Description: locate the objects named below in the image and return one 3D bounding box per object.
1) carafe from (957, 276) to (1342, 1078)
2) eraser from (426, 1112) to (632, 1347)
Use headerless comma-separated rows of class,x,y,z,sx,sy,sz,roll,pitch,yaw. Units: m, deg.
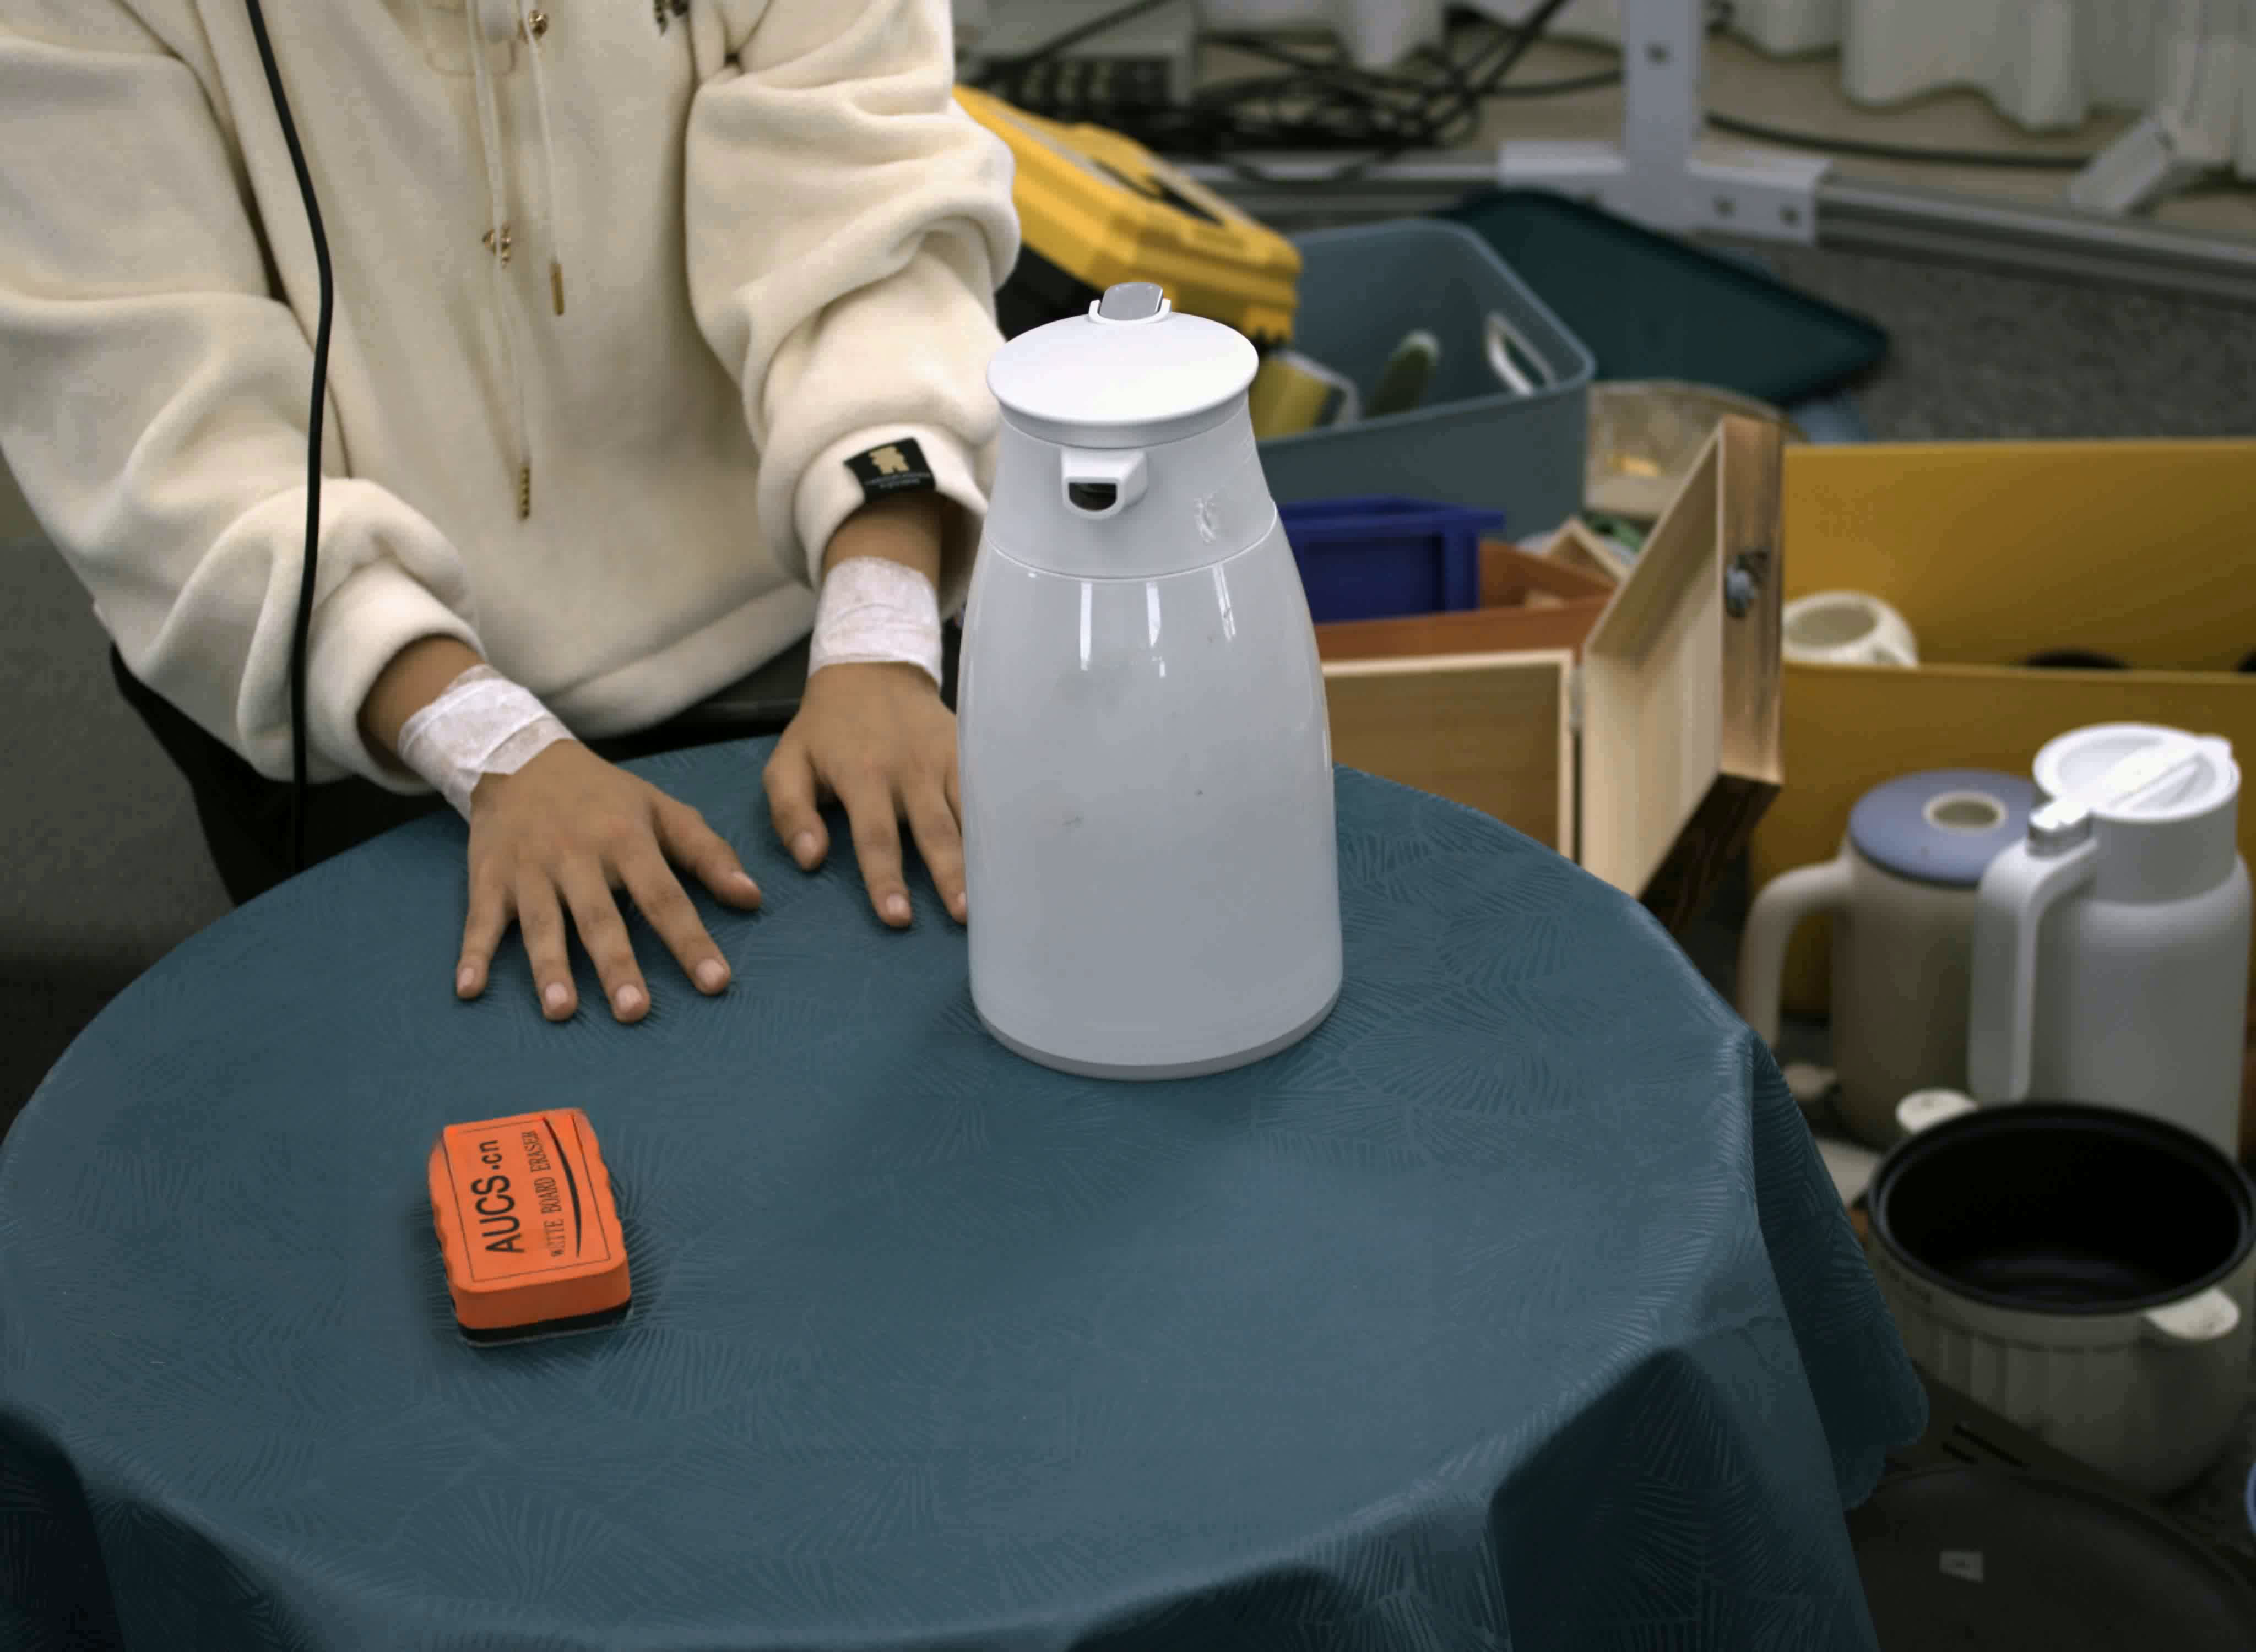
carafe,0.006,-0.061,1.947,0.131,0.246,0.170,1,26,9
eraser,-0.197,0.132,1.837,0.059,0.022,0.109,-6,28,-11
